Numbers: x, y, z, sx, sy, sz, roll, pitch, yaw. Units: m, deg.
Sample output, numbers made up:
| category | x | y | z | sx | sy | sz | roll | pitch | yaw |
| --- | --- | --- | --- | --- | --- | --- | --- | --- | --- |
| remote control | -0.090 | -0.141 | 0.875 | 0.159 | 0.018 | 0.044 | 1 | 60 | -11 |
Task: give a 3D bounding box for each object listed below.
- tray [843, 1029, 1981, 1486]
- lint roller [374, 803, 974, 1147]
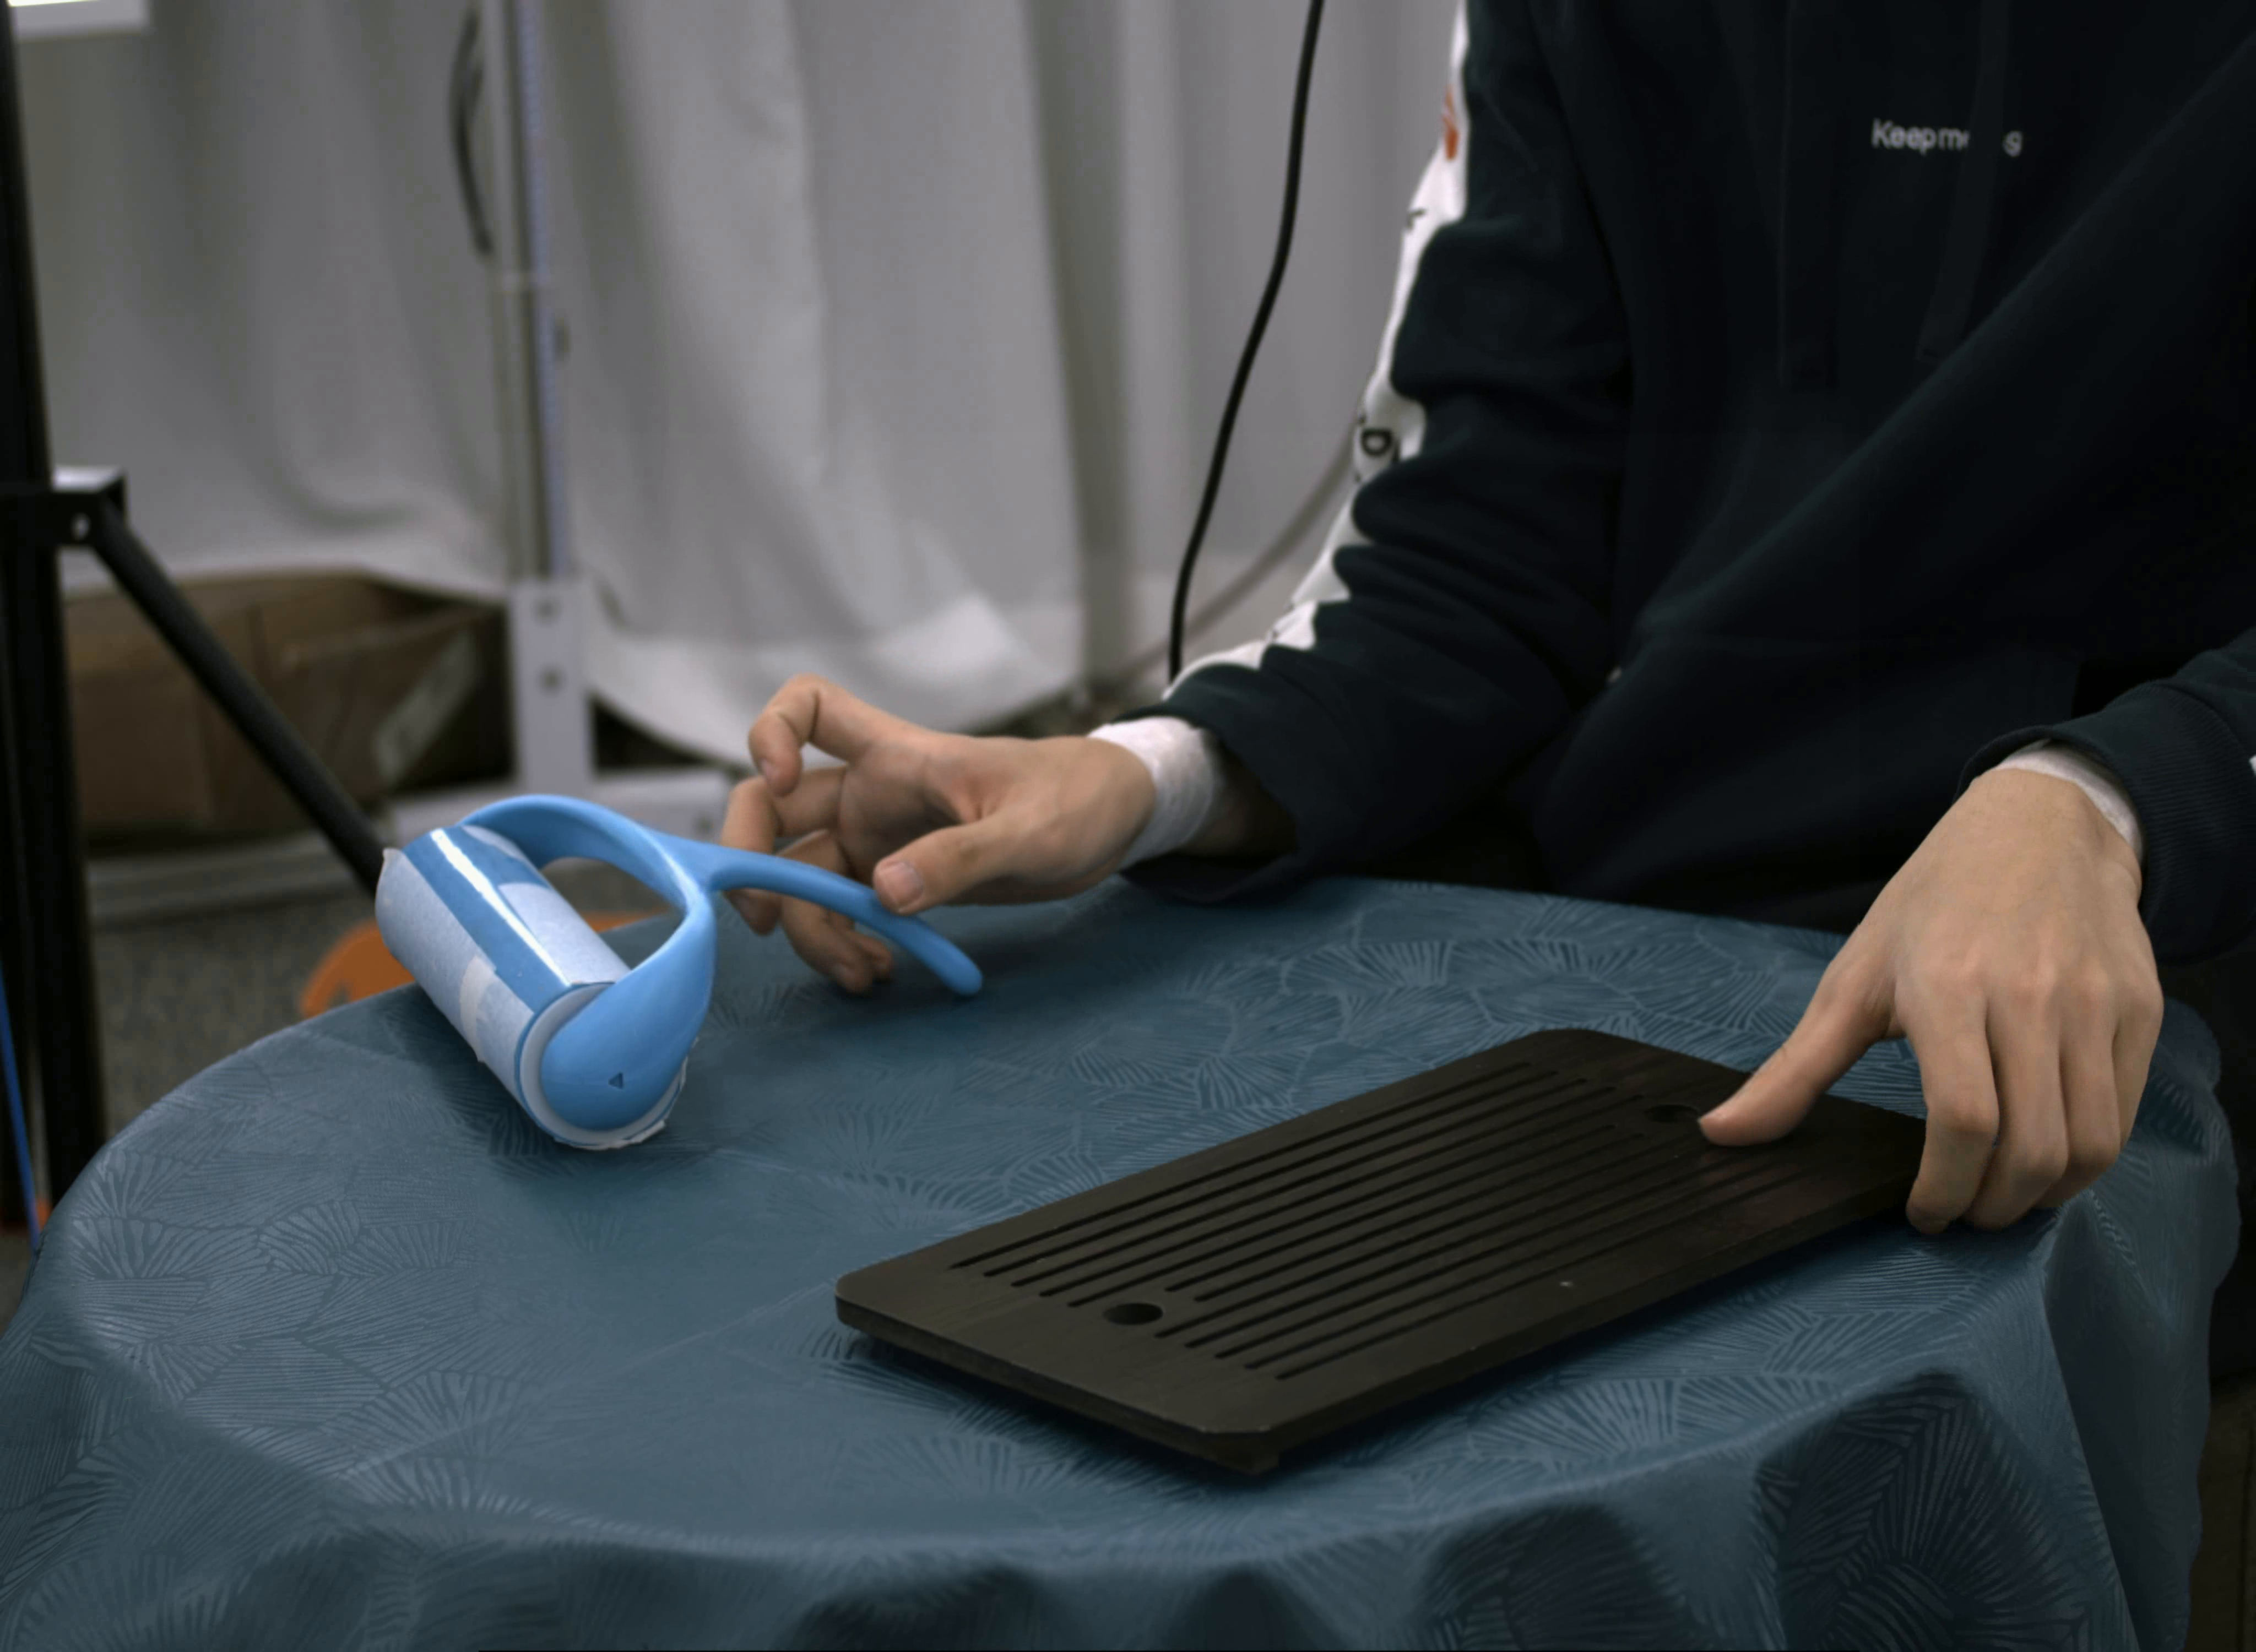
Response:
| category | x | y | z | sx | sy | sz | roll | pitch | yaw |
| --- | --- | --- | --- | --- | --- | --- | --- | --- | --- |
| tray | 0.084 | 0.117 | 1.480 | 0.299 | 0.018 | 0.174 | -16 | 20 | -39 |
| lint roller | -0.138 | 0.039 | 1.718 | 0.177 | 0.068 | 0.233 | -10 | 16 | -20 |
